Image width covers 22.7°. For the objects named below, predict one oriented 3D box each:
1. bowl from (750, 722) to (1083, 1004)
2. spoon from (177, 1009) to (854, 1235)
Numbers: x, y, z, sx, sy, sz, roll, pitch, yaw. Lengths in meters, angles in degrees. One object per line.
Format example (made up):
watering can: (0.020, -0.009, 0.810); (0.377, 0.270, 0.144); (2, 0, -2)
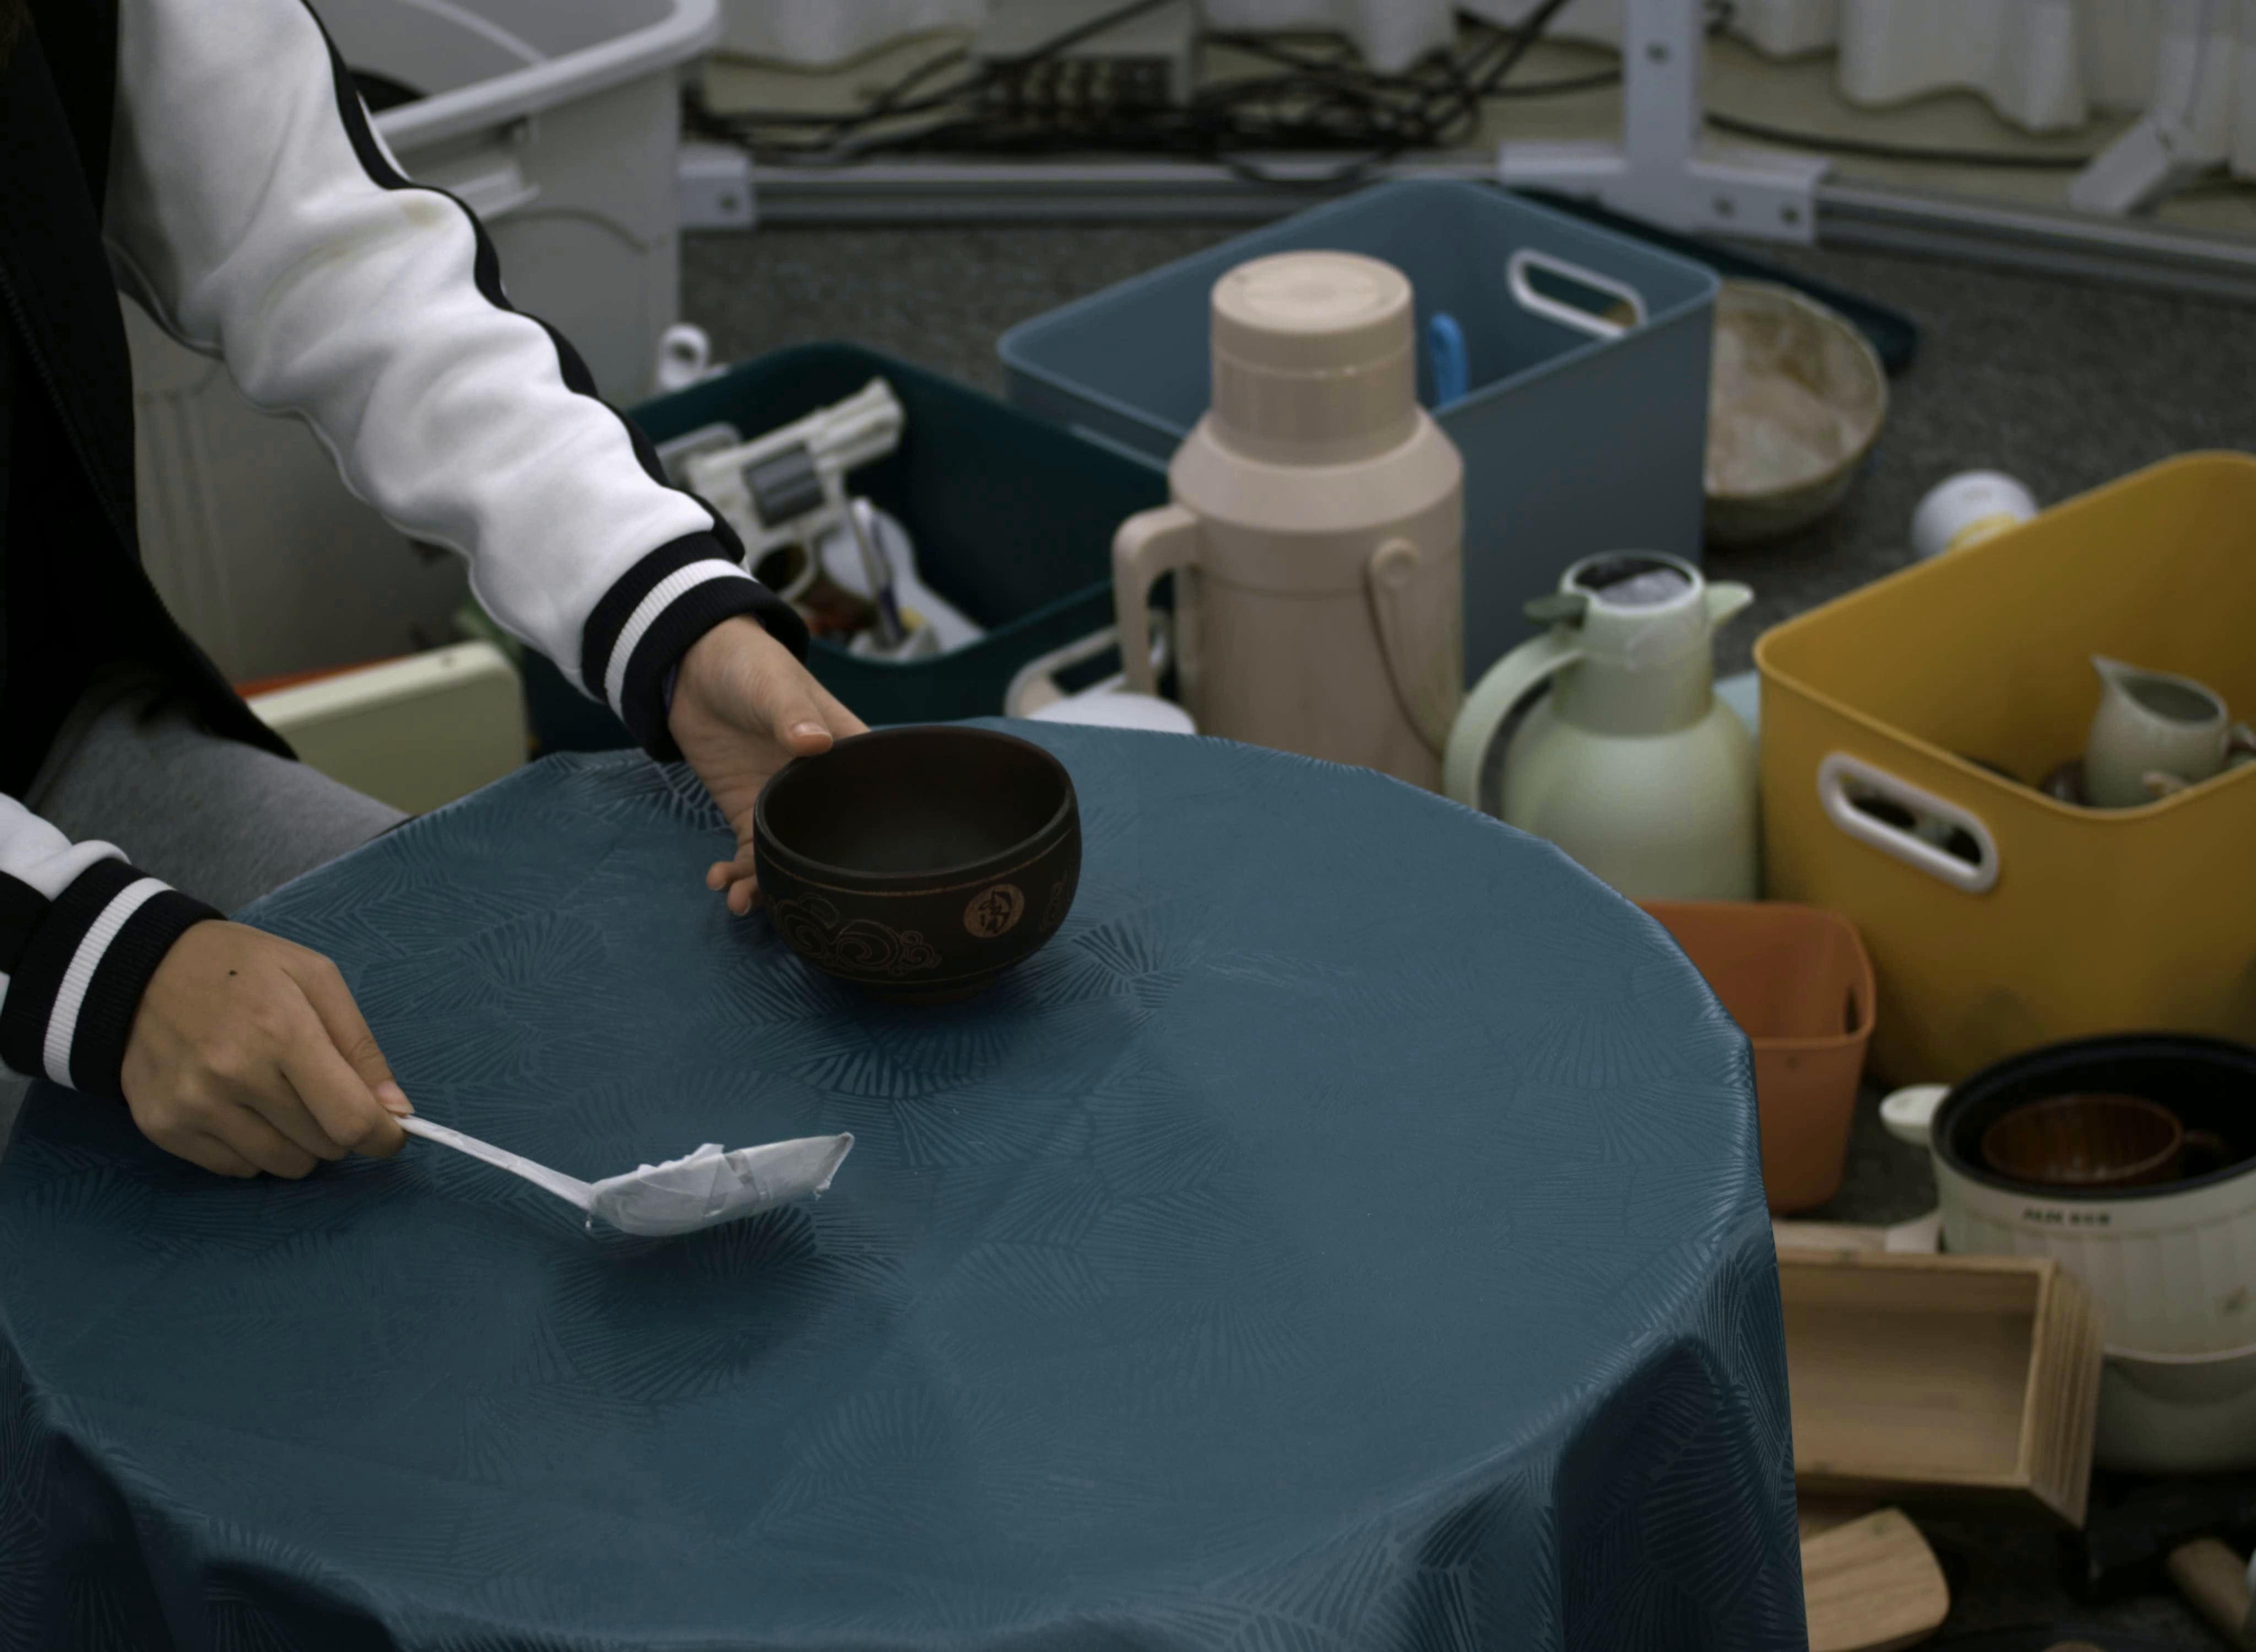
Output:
bowl: (-0.074, 0.019, 1.988); (0.117, 0.069, 0.120); (-2, 26, 2)
spoon: (-0.210, 0.083, 1.874); (0.276, 0.059, 0.101); (20, 7, 34)
